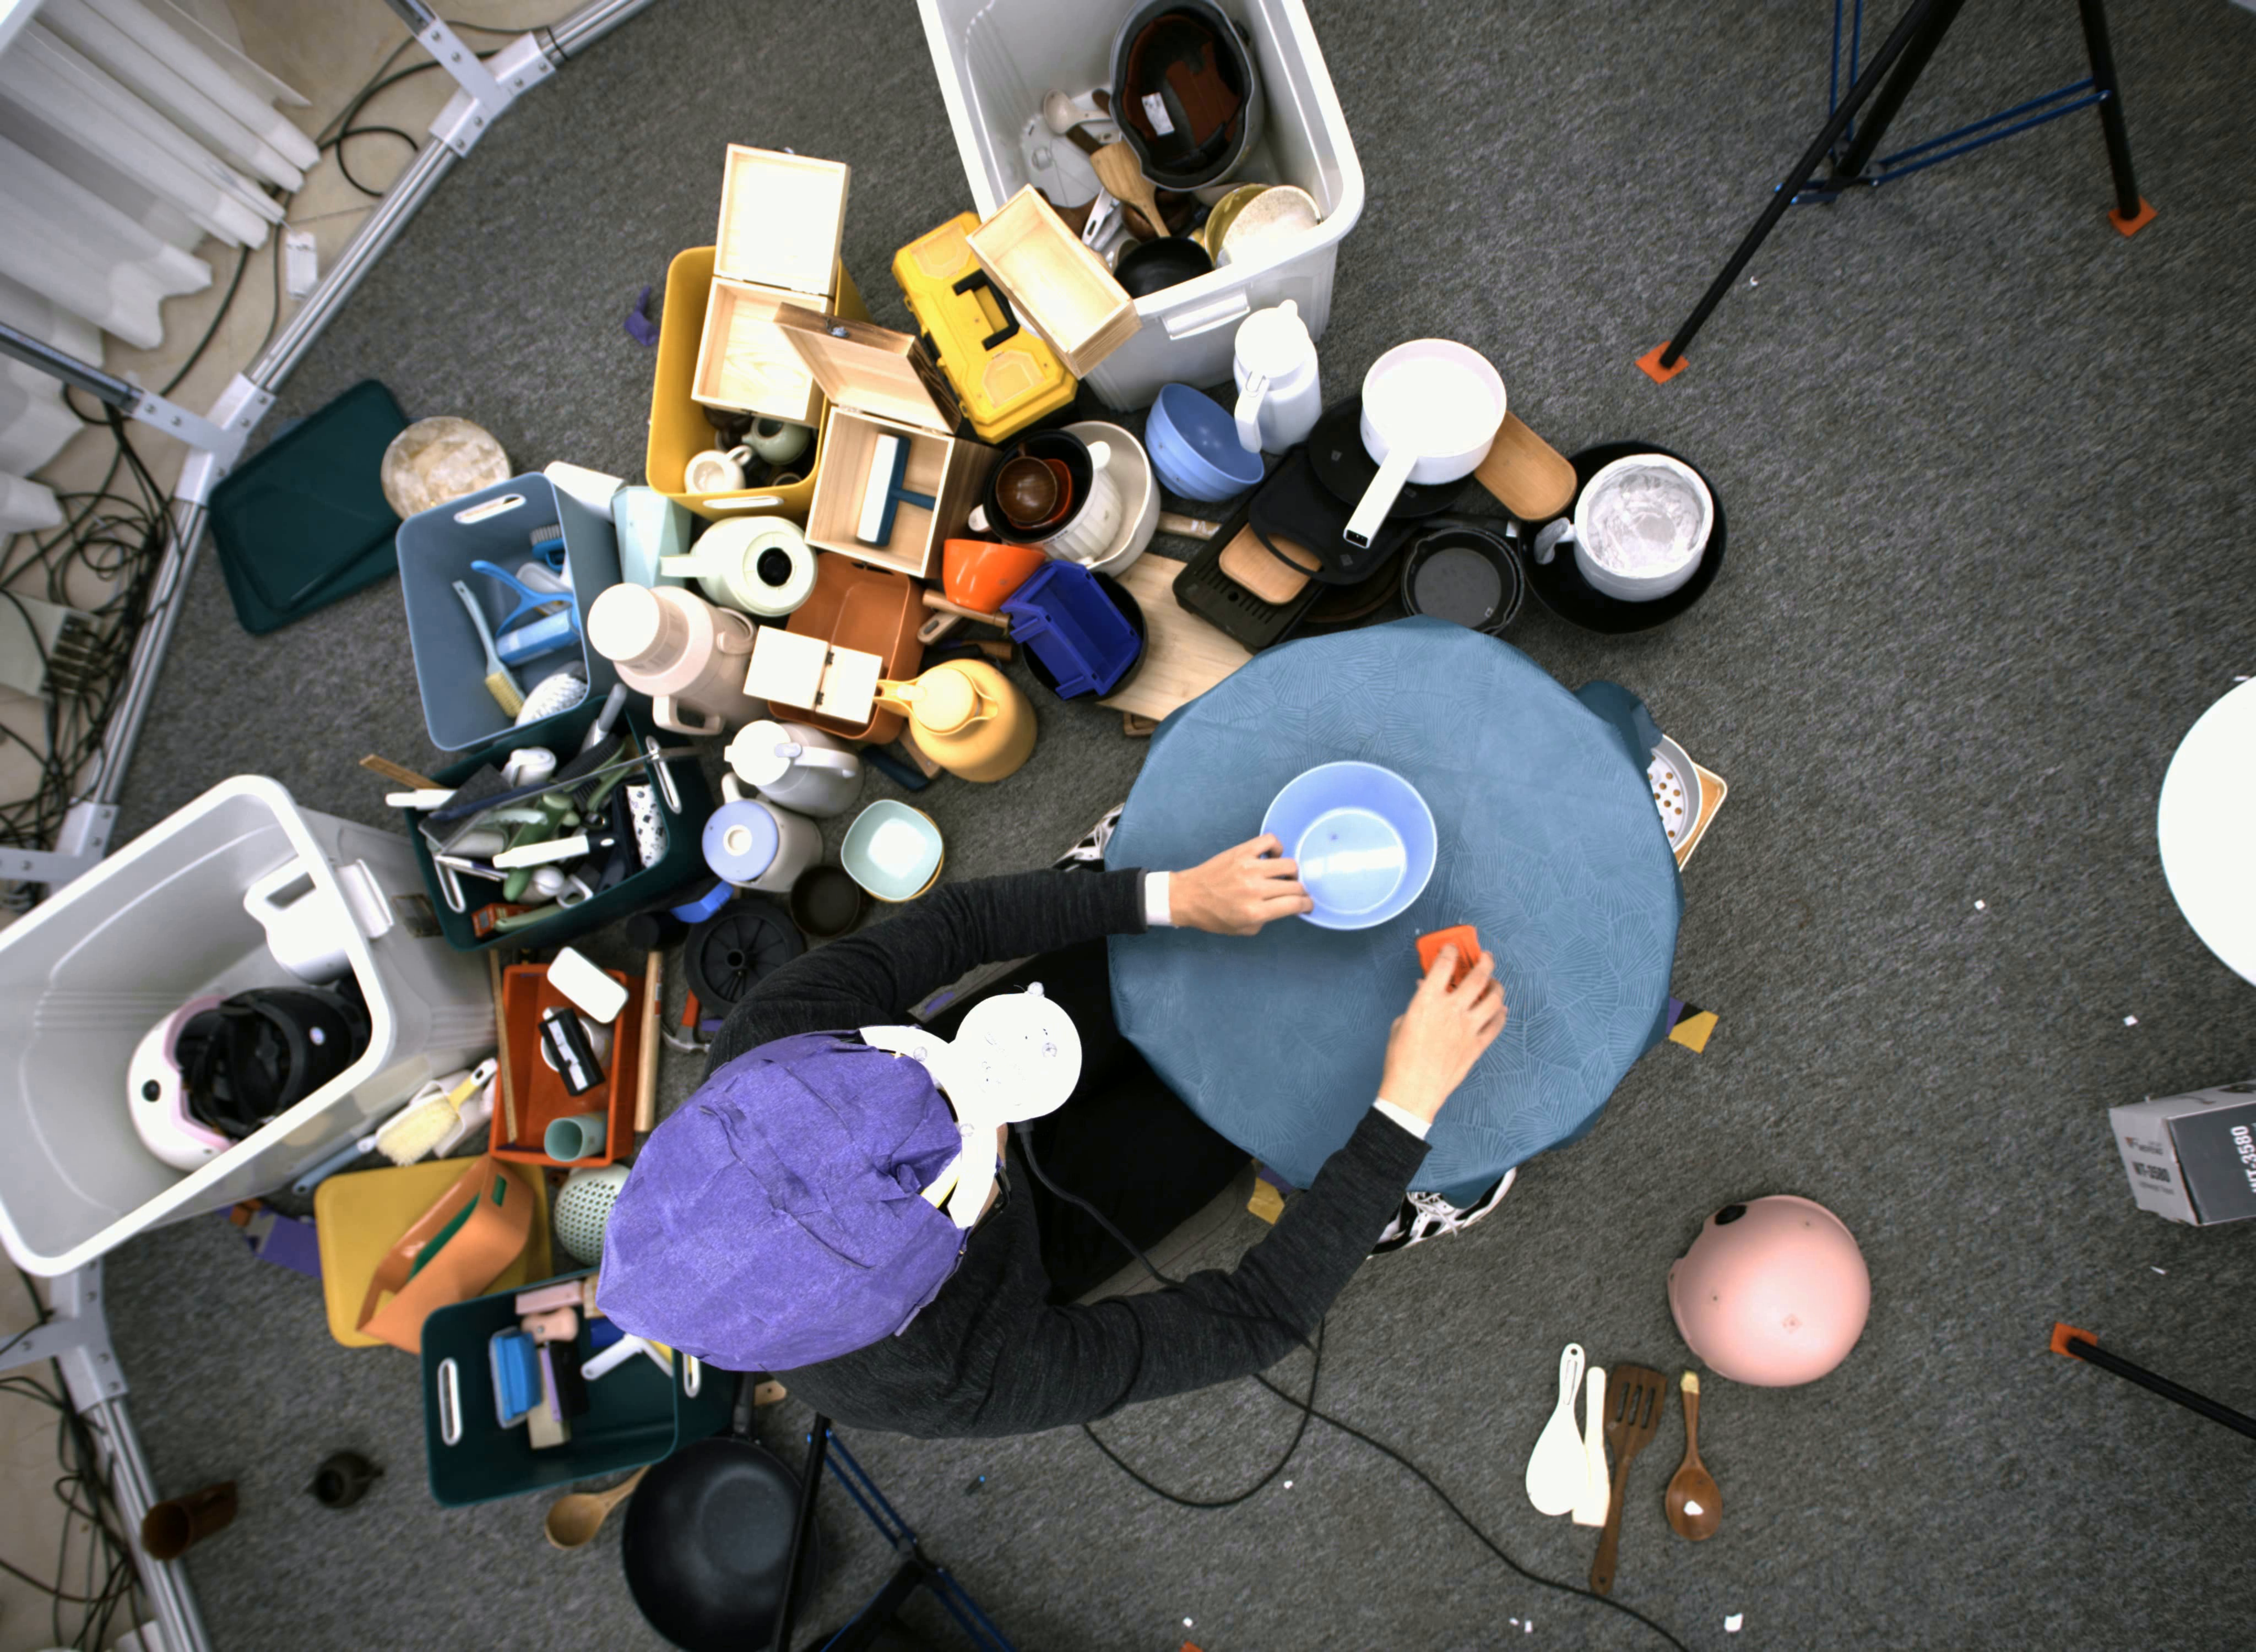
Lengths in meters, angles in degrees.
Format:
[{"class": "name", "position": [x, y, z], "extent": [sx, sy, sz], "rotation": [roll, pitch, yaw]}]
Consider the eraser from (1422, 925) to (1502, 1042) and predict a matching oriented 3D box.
[{"class": "eraser", "position": [0.328, 0.153, 1.356], "extent": [0.059, 0.022, 0.108], "rotation": [-15, 99, 4]}]

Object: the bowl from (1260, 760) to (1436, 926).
[{"class": "bowl", "position": [0.225, 0.024, 1.411], "extent": [0.177, 0.071, 0.173], "rotation": [-4, 74, 11]}]
